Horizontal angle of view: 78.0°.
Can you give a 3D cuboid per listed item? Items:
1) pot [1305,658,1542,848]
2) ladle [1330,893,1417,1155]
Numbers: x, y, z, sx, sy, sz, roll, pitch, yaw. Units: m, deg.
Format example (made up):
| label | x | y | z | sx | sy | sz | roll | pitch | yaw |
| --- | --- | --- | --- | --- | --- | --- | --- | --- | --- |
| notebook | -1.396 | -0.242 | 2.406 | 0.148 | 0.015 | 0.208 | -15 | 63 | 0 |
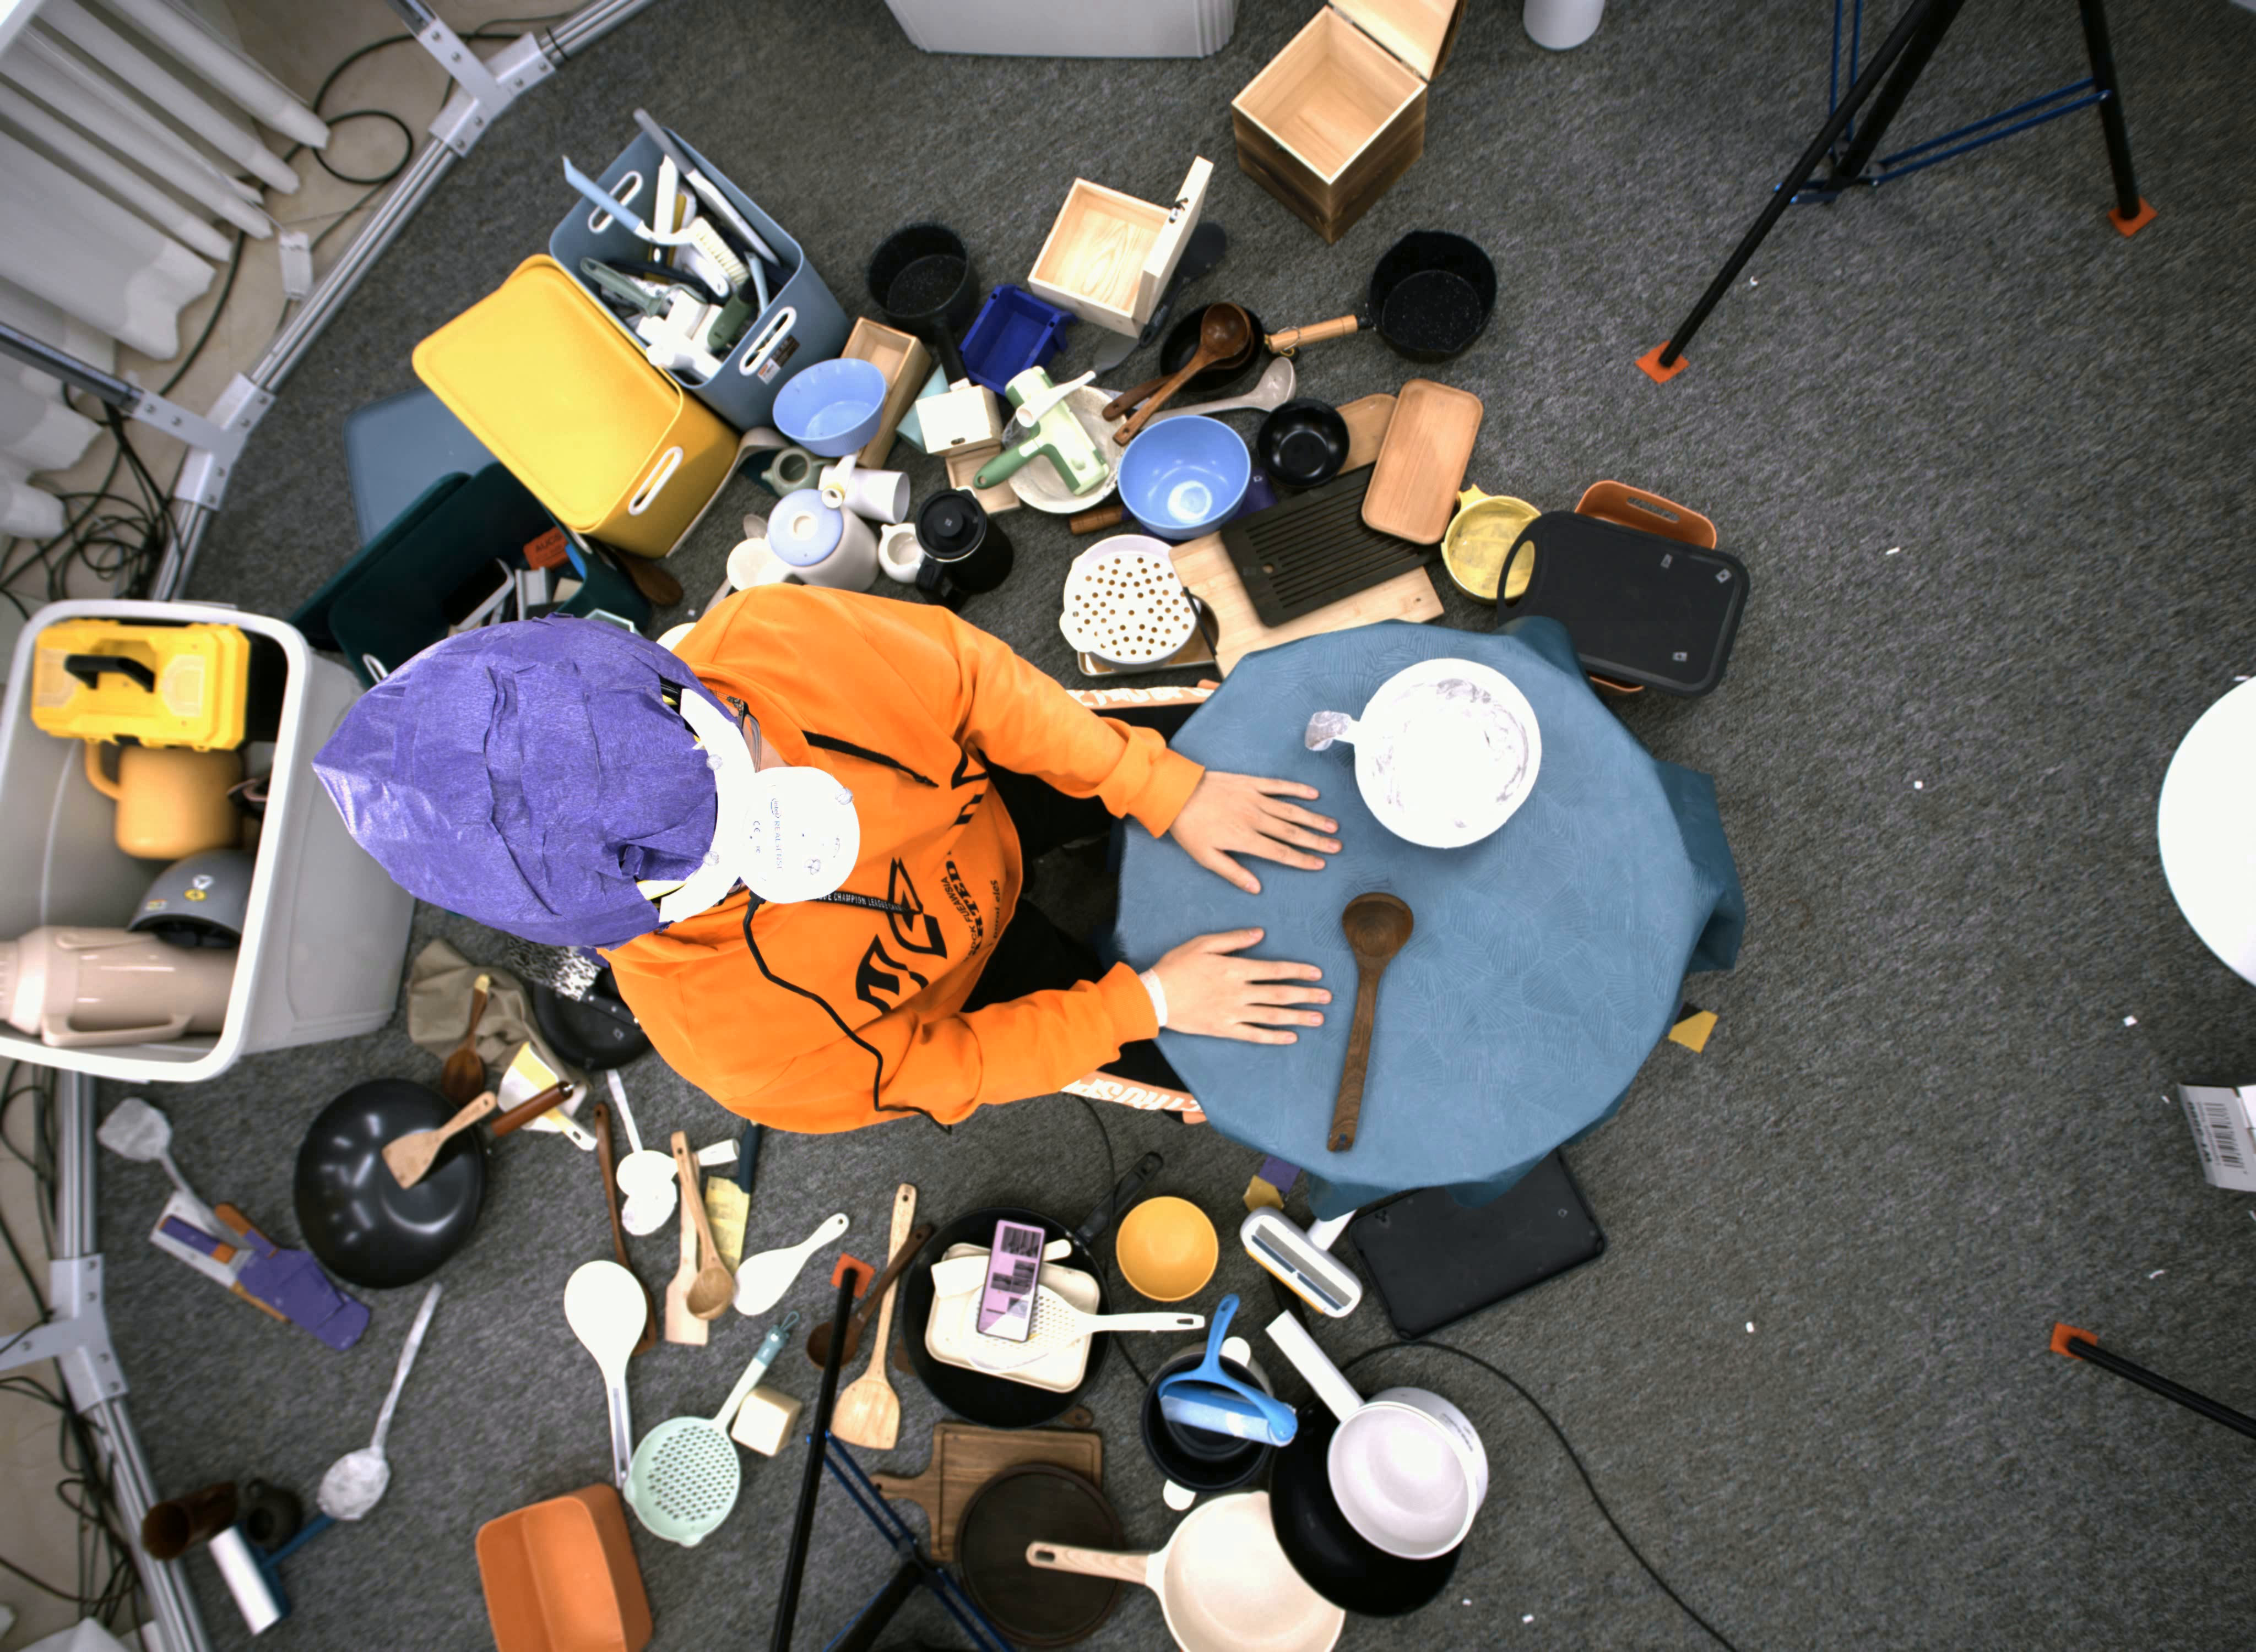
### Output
| label | x | y | z | sx | sy | sz | roll | pitch | yaw |
| --- | --- | --- | --- | --- | --- | --- | --- | --- | --- |
| pot | 0.293 | -0.076 | 1.394 | 0.234 | 0.137 | 0.178 | 13 | 88 | 11 |
| ladle | 0.242 | 0.204 | 1.422 | 0.076 | 0.071 | 0.273 | 10 | 88 | 13 |
